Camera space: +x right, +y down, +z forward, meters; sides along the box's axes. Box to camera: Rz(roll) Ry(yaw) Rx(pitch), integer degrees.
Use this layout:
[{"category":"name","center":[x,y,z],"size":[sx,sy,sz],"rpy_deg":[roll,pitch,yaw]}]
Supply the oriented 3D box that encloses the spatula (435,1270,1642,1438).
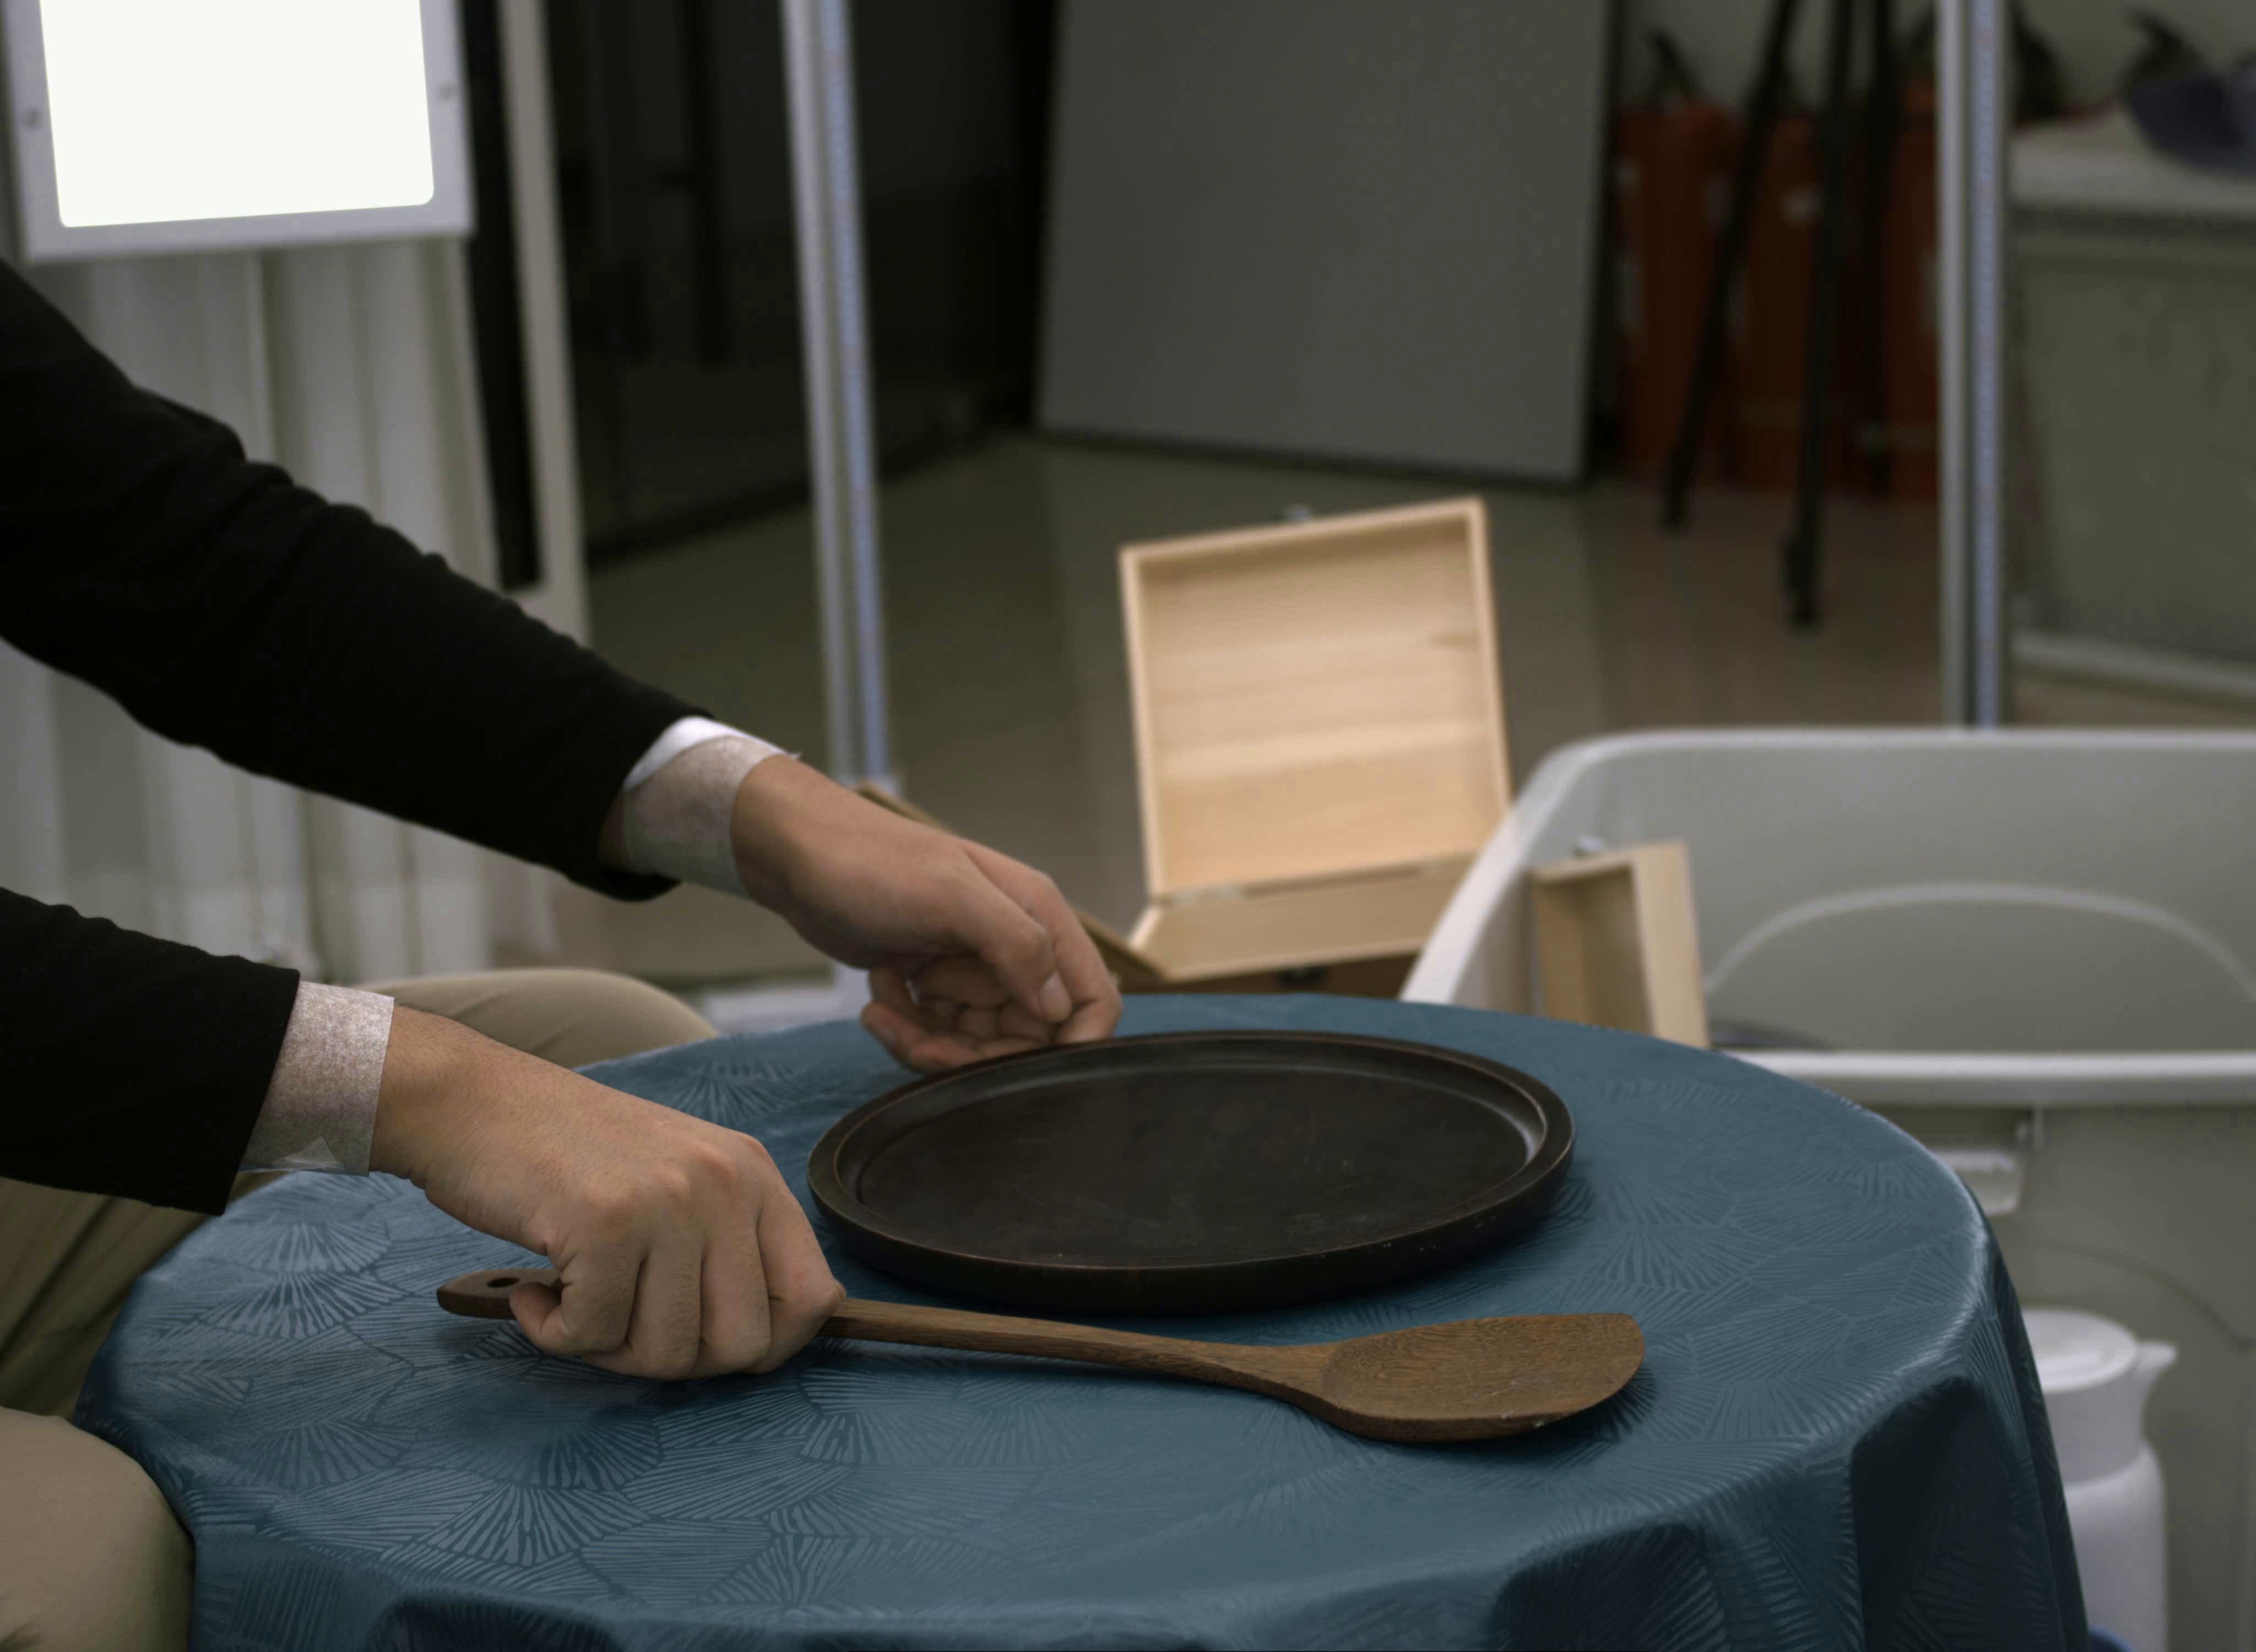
[{"category":"spatula","center":[-0.035,0.153,1.609],"size":[0.385,0.016,0.095],"rpy_deg":[3,14,21]}]

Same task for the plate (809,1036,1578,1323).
[{"category":"plate","center":[0.021,0.112,1.750],"size":[0.251,0.029,0.255],"rpy_deg":[-4,15,0]}]
